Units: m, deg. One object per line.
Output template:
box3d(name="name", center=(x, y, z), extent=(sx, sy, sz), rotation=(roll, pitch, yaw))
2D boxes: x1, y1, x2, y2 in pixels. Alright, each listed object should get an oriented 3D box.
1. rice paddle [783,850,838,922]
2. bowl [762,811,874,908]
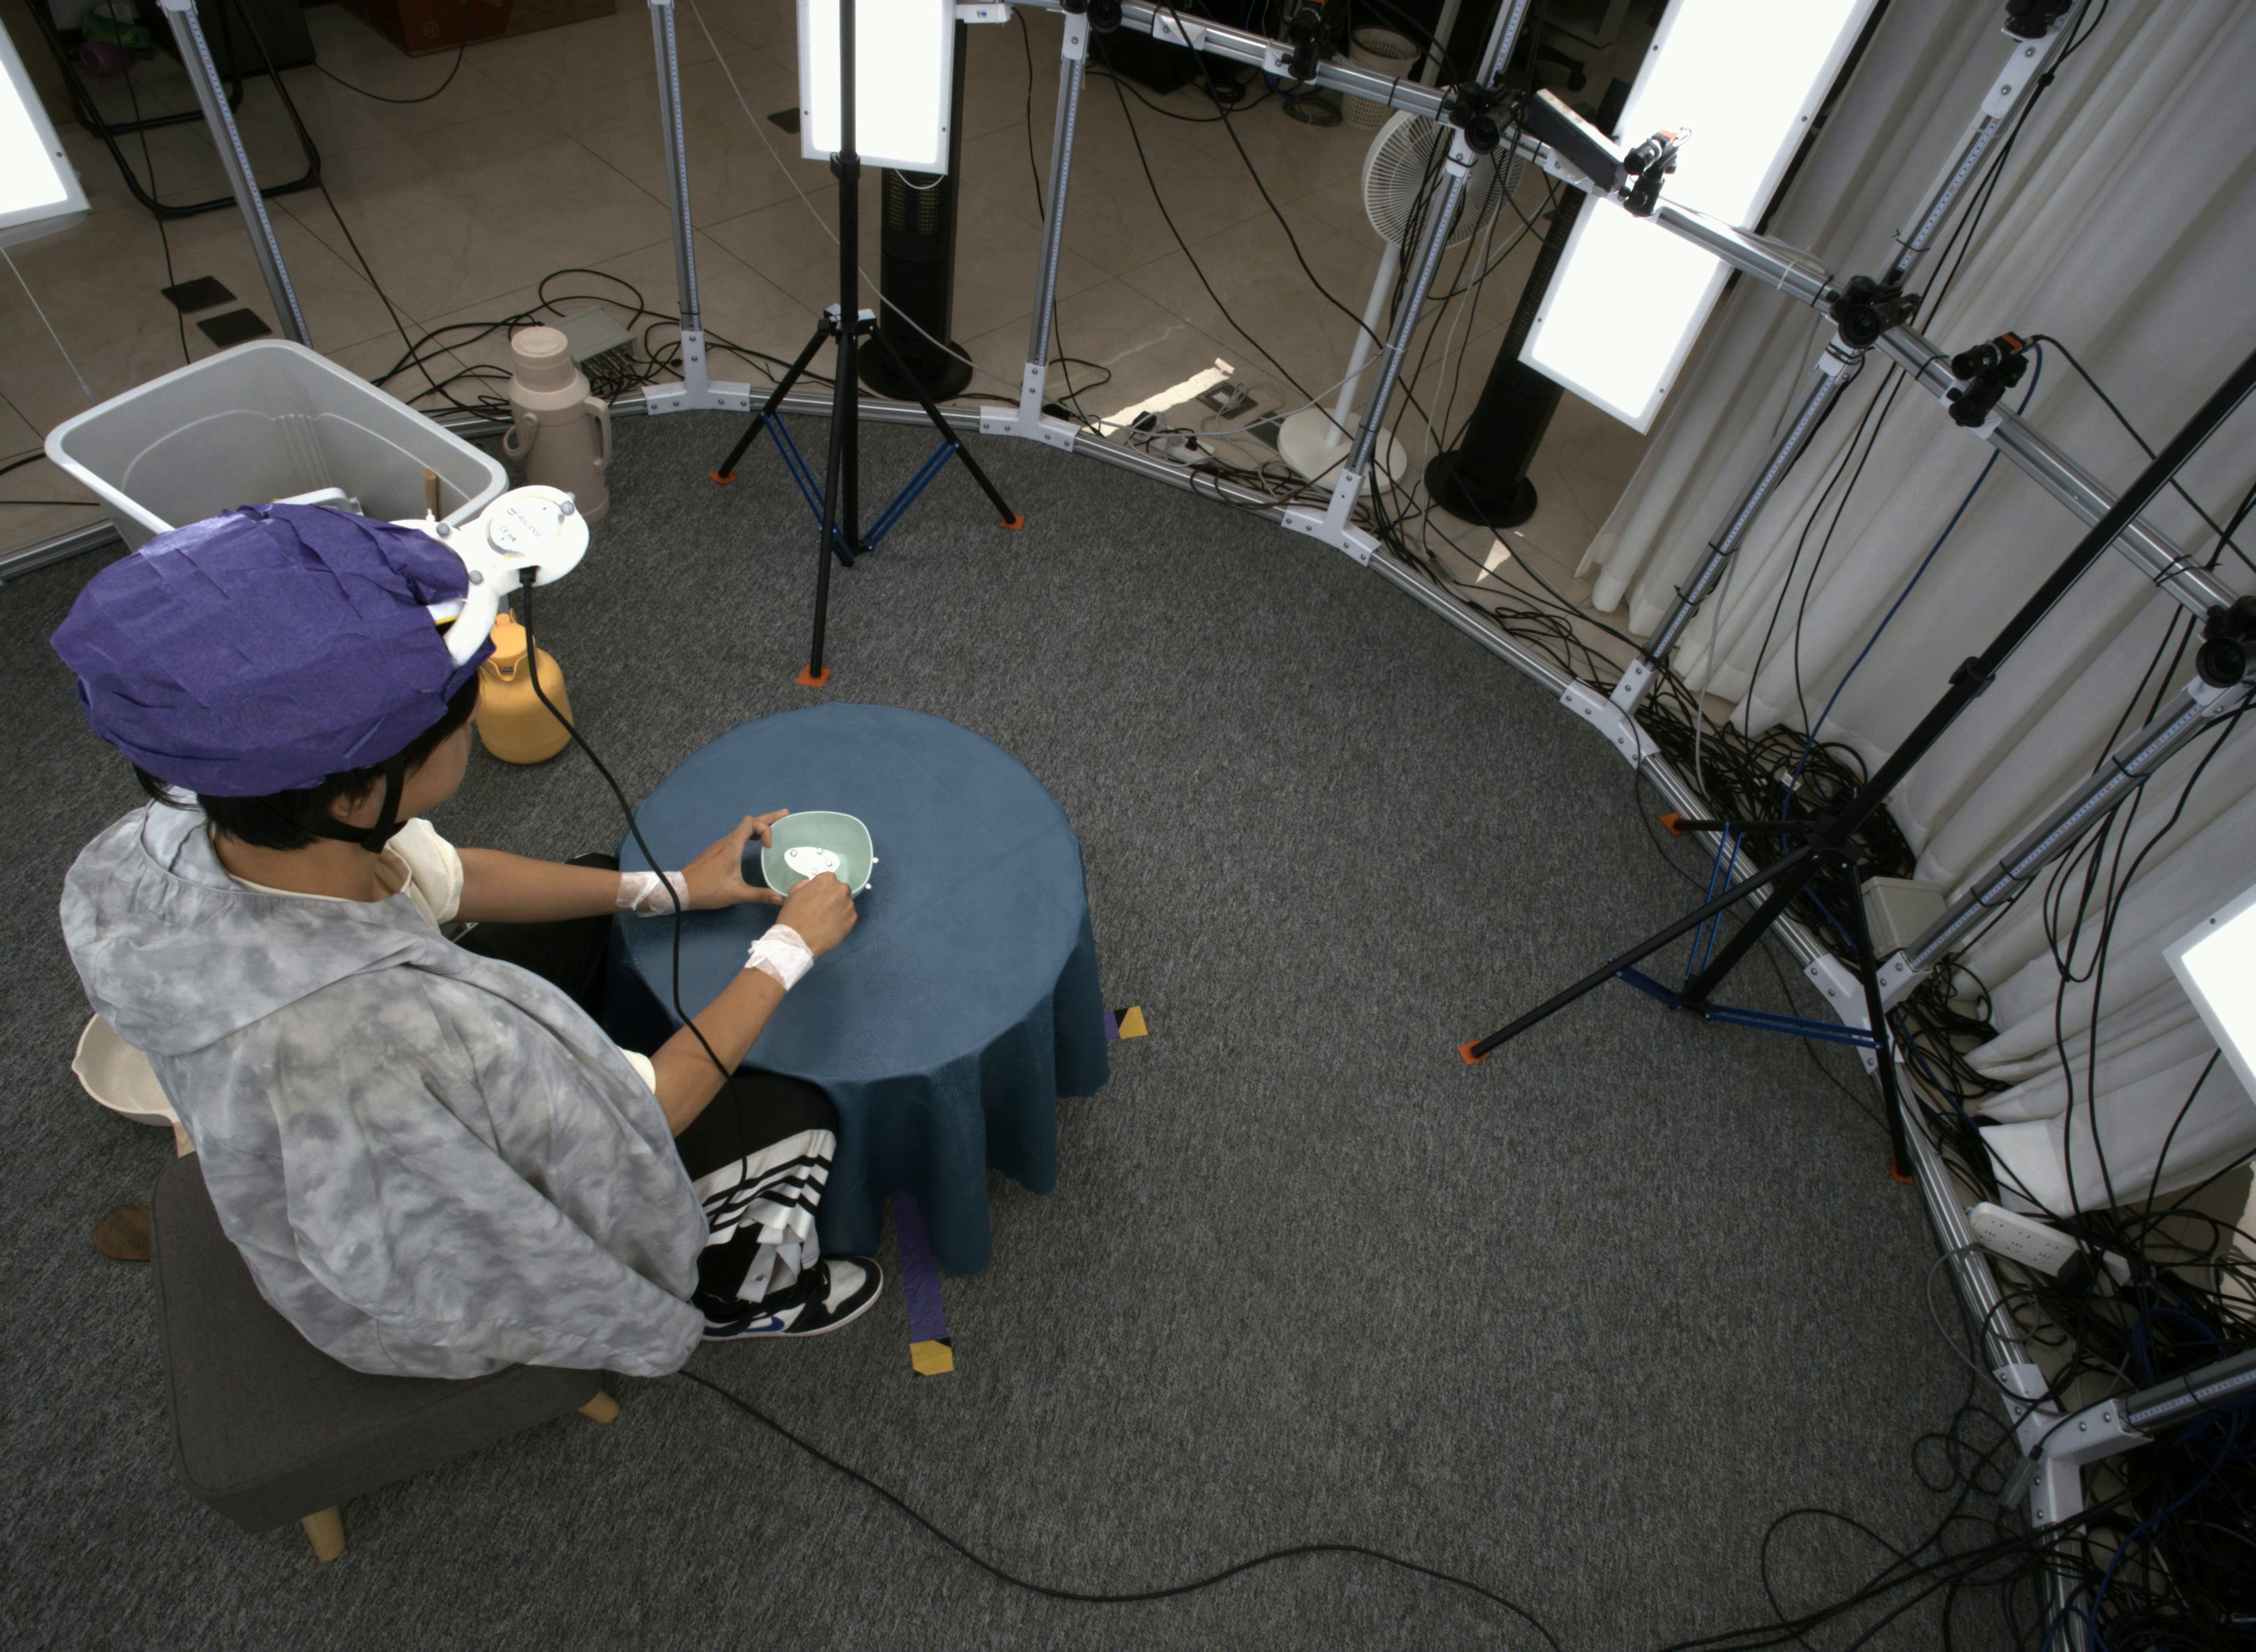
box3d(name="rice paddle", center=(-0.385, 0.062, 1.589), extent=(0.069, 0.030, 0.199), rotation=(5, 19, -21))
box3d(name="bowl", center=(-0.396, 0.052, 1.658), extent=(0.151, 0.060, 0.149), rotation=(9, 53, -10))
